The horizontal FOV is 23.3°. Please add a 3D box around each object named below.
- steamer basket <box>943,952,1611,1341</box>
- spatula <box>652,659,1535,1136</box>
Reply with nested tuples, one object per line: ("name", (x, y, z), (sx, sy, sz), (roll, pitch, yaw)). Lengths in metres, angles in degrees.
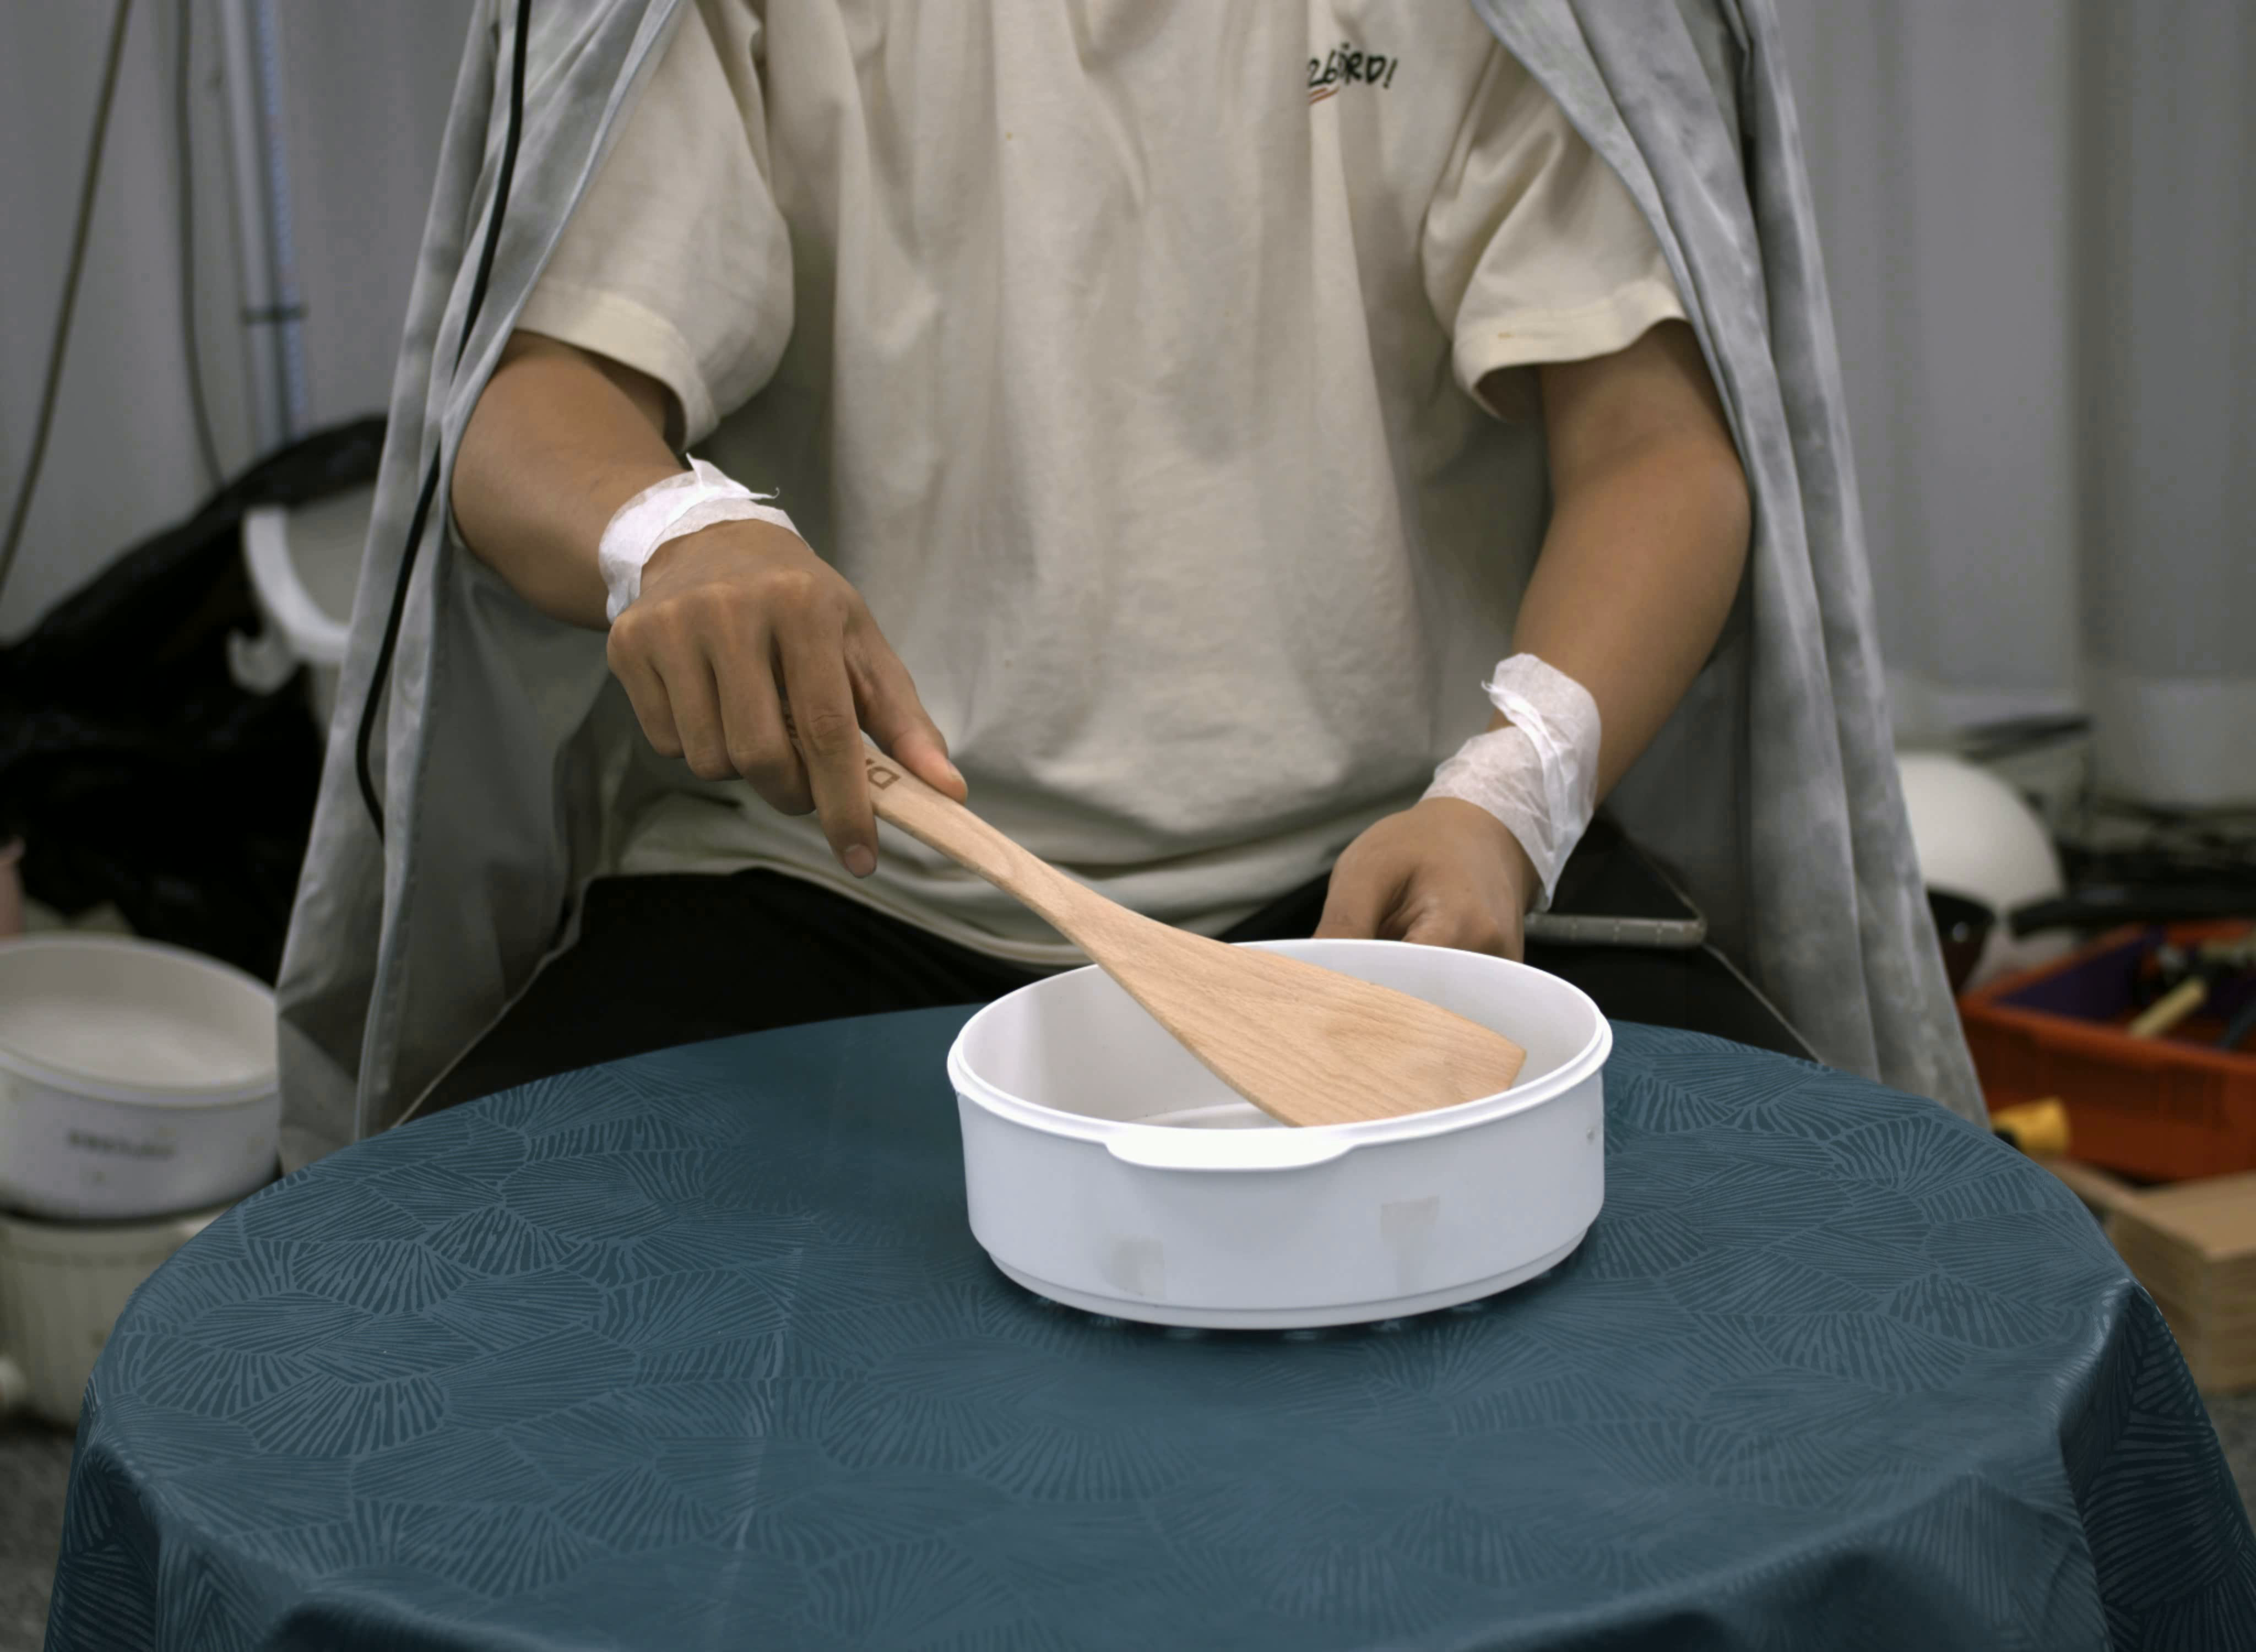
("steamer basket", (0.045, 0.096, 1.654), (0.201, 0.069, 0.231), (2, 15, 11))
("spatula", (-0.017, 0.020, 1.702), (0.329, 0.016, 0.080), (29, 40, 23))
